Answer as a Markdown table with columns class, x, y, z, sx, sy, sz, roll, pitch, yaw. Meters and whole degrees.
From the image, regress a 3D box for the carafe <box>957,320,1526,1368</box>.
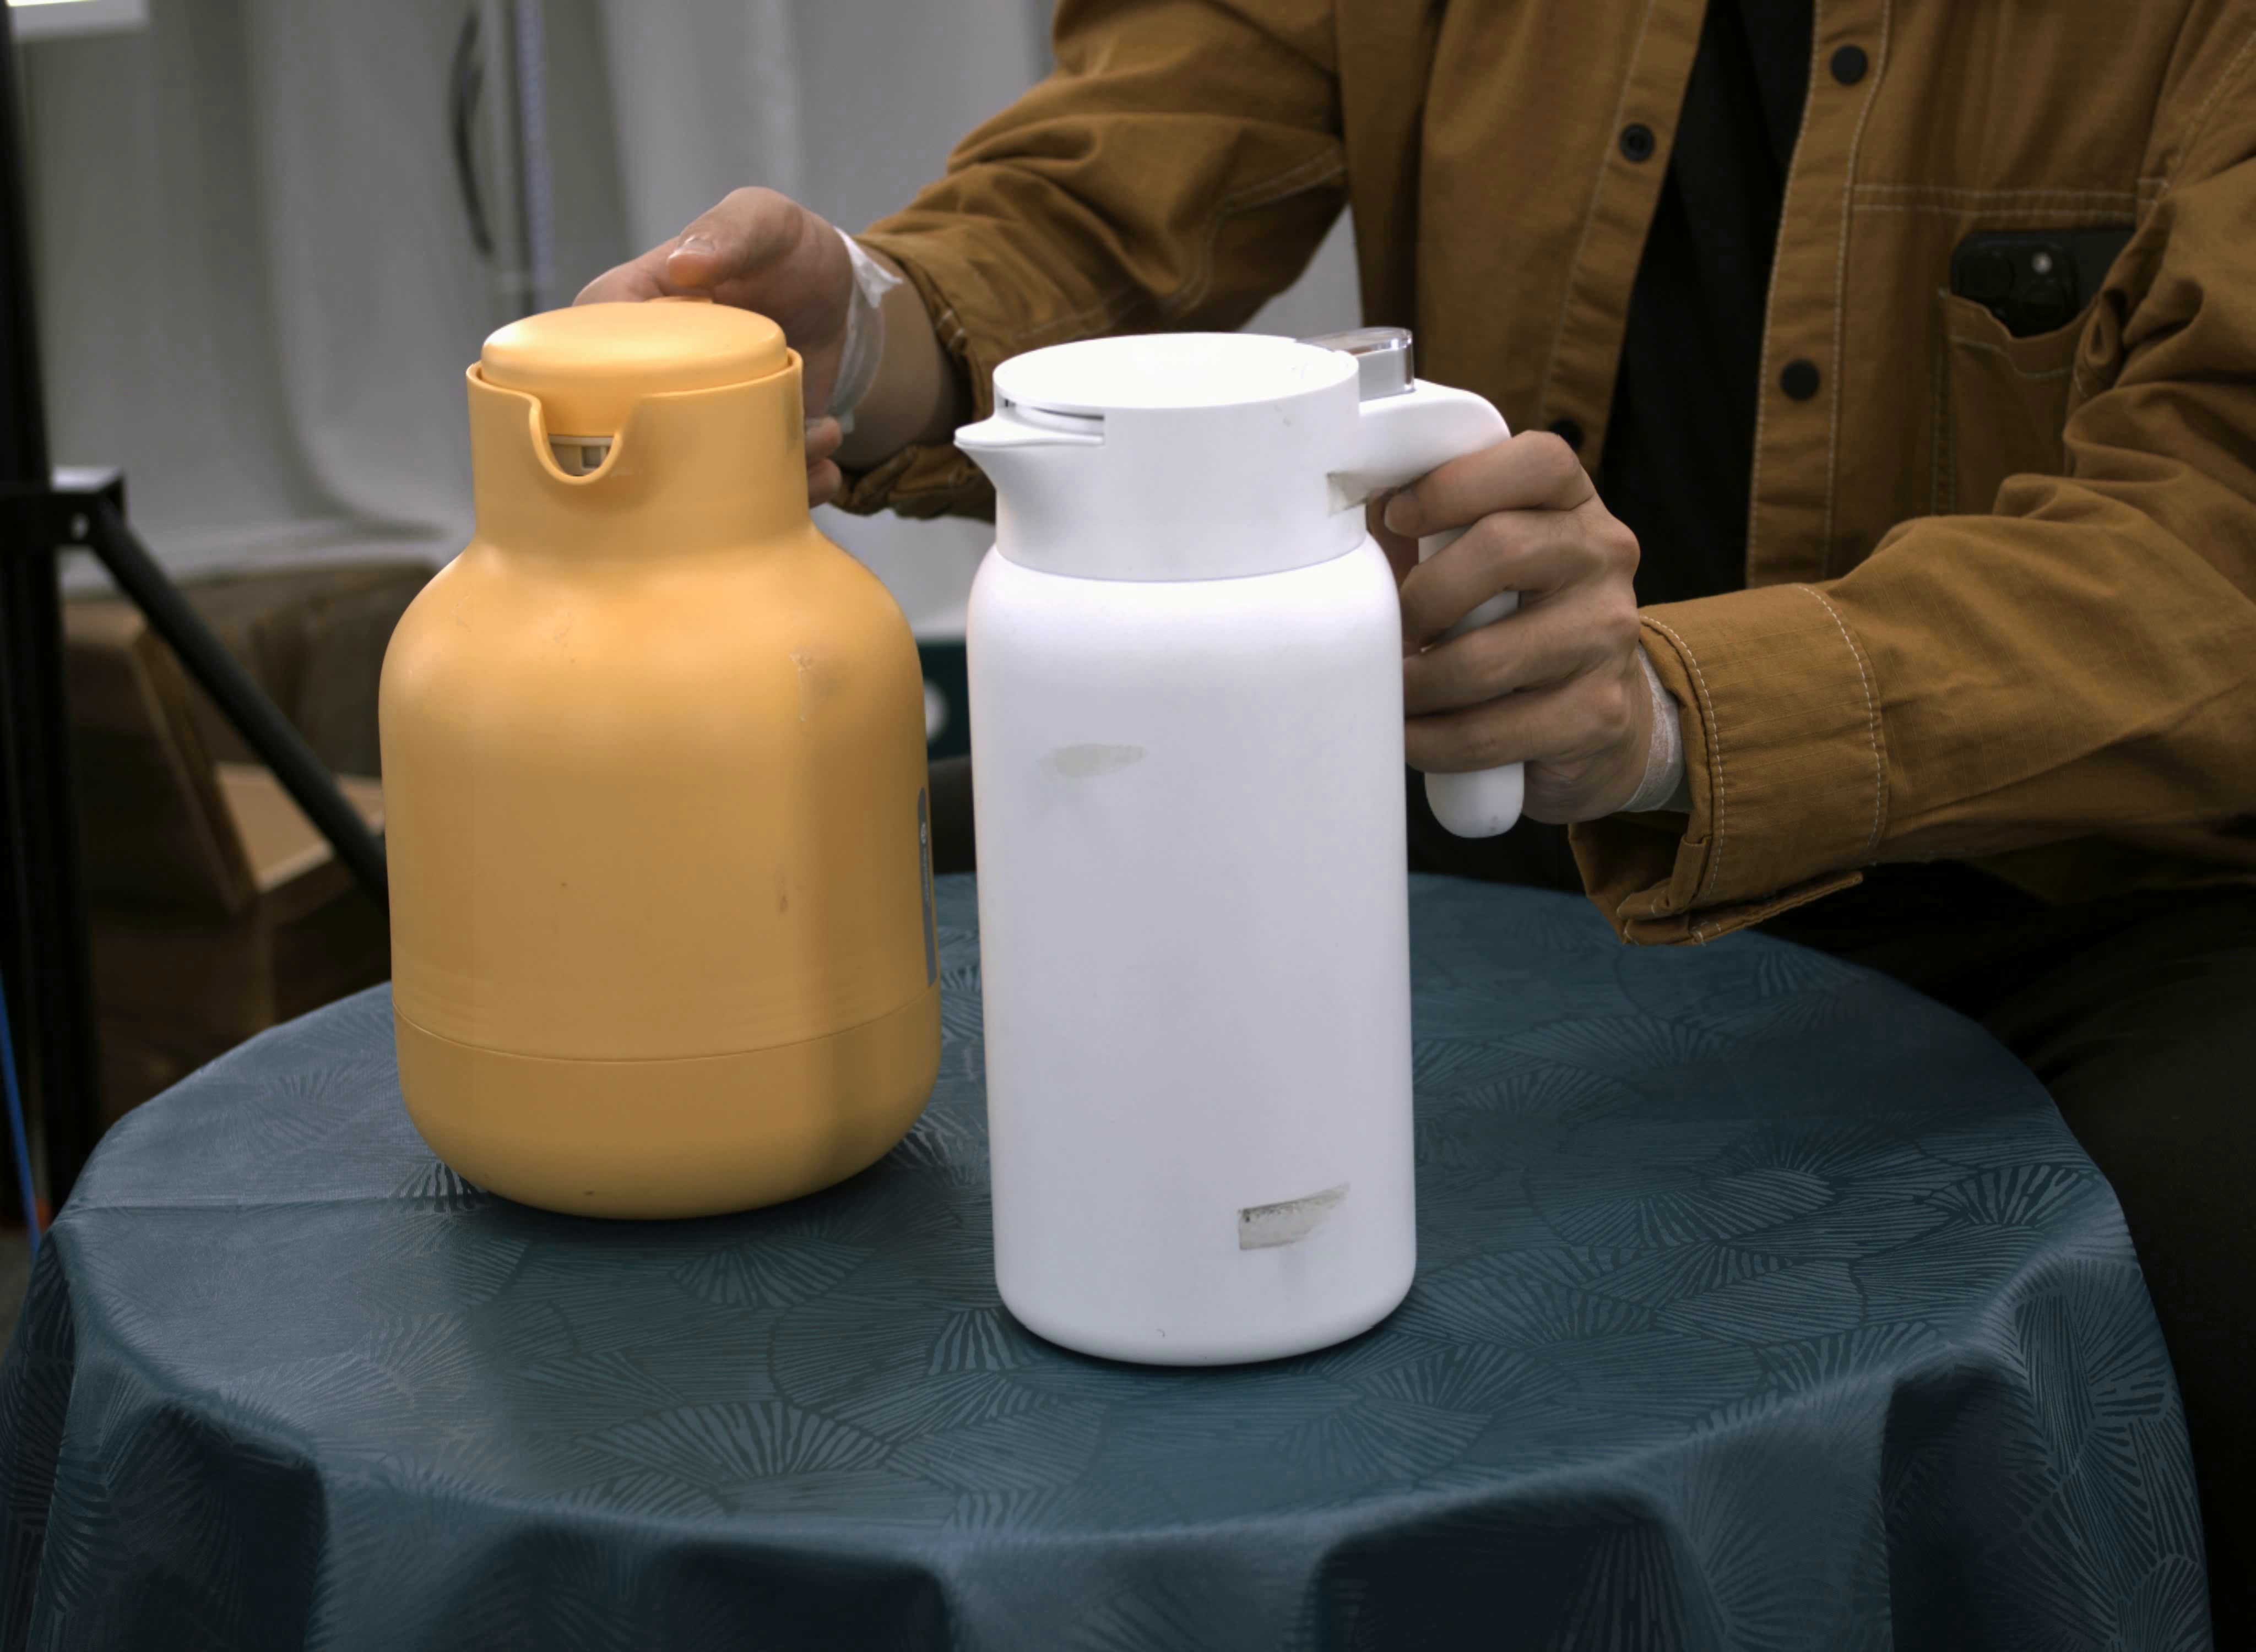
| class | x | y | z | sx | sy | sz | roll | pitch | yaw |
| --- | --- | --- | --- | --- | --- | --- | --- | --- | --- |
| carafe | 0.032 | 0.001 | 1.440 | 0.169 | 0.269 | 0.126 | -11 | 16 | -31 |

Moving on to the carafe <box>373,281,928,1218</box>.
| class | x | y | z | sx | sy | sz | roll | pitch | yaw |
| --- | --- | --- | --- | --- | --- | --- | --- | --- | --- |
| carafe | -0.136 | -0.031 | 1.587 | 0.164 | 0.260 | 0.201 | 4 | 17 | 11 |
